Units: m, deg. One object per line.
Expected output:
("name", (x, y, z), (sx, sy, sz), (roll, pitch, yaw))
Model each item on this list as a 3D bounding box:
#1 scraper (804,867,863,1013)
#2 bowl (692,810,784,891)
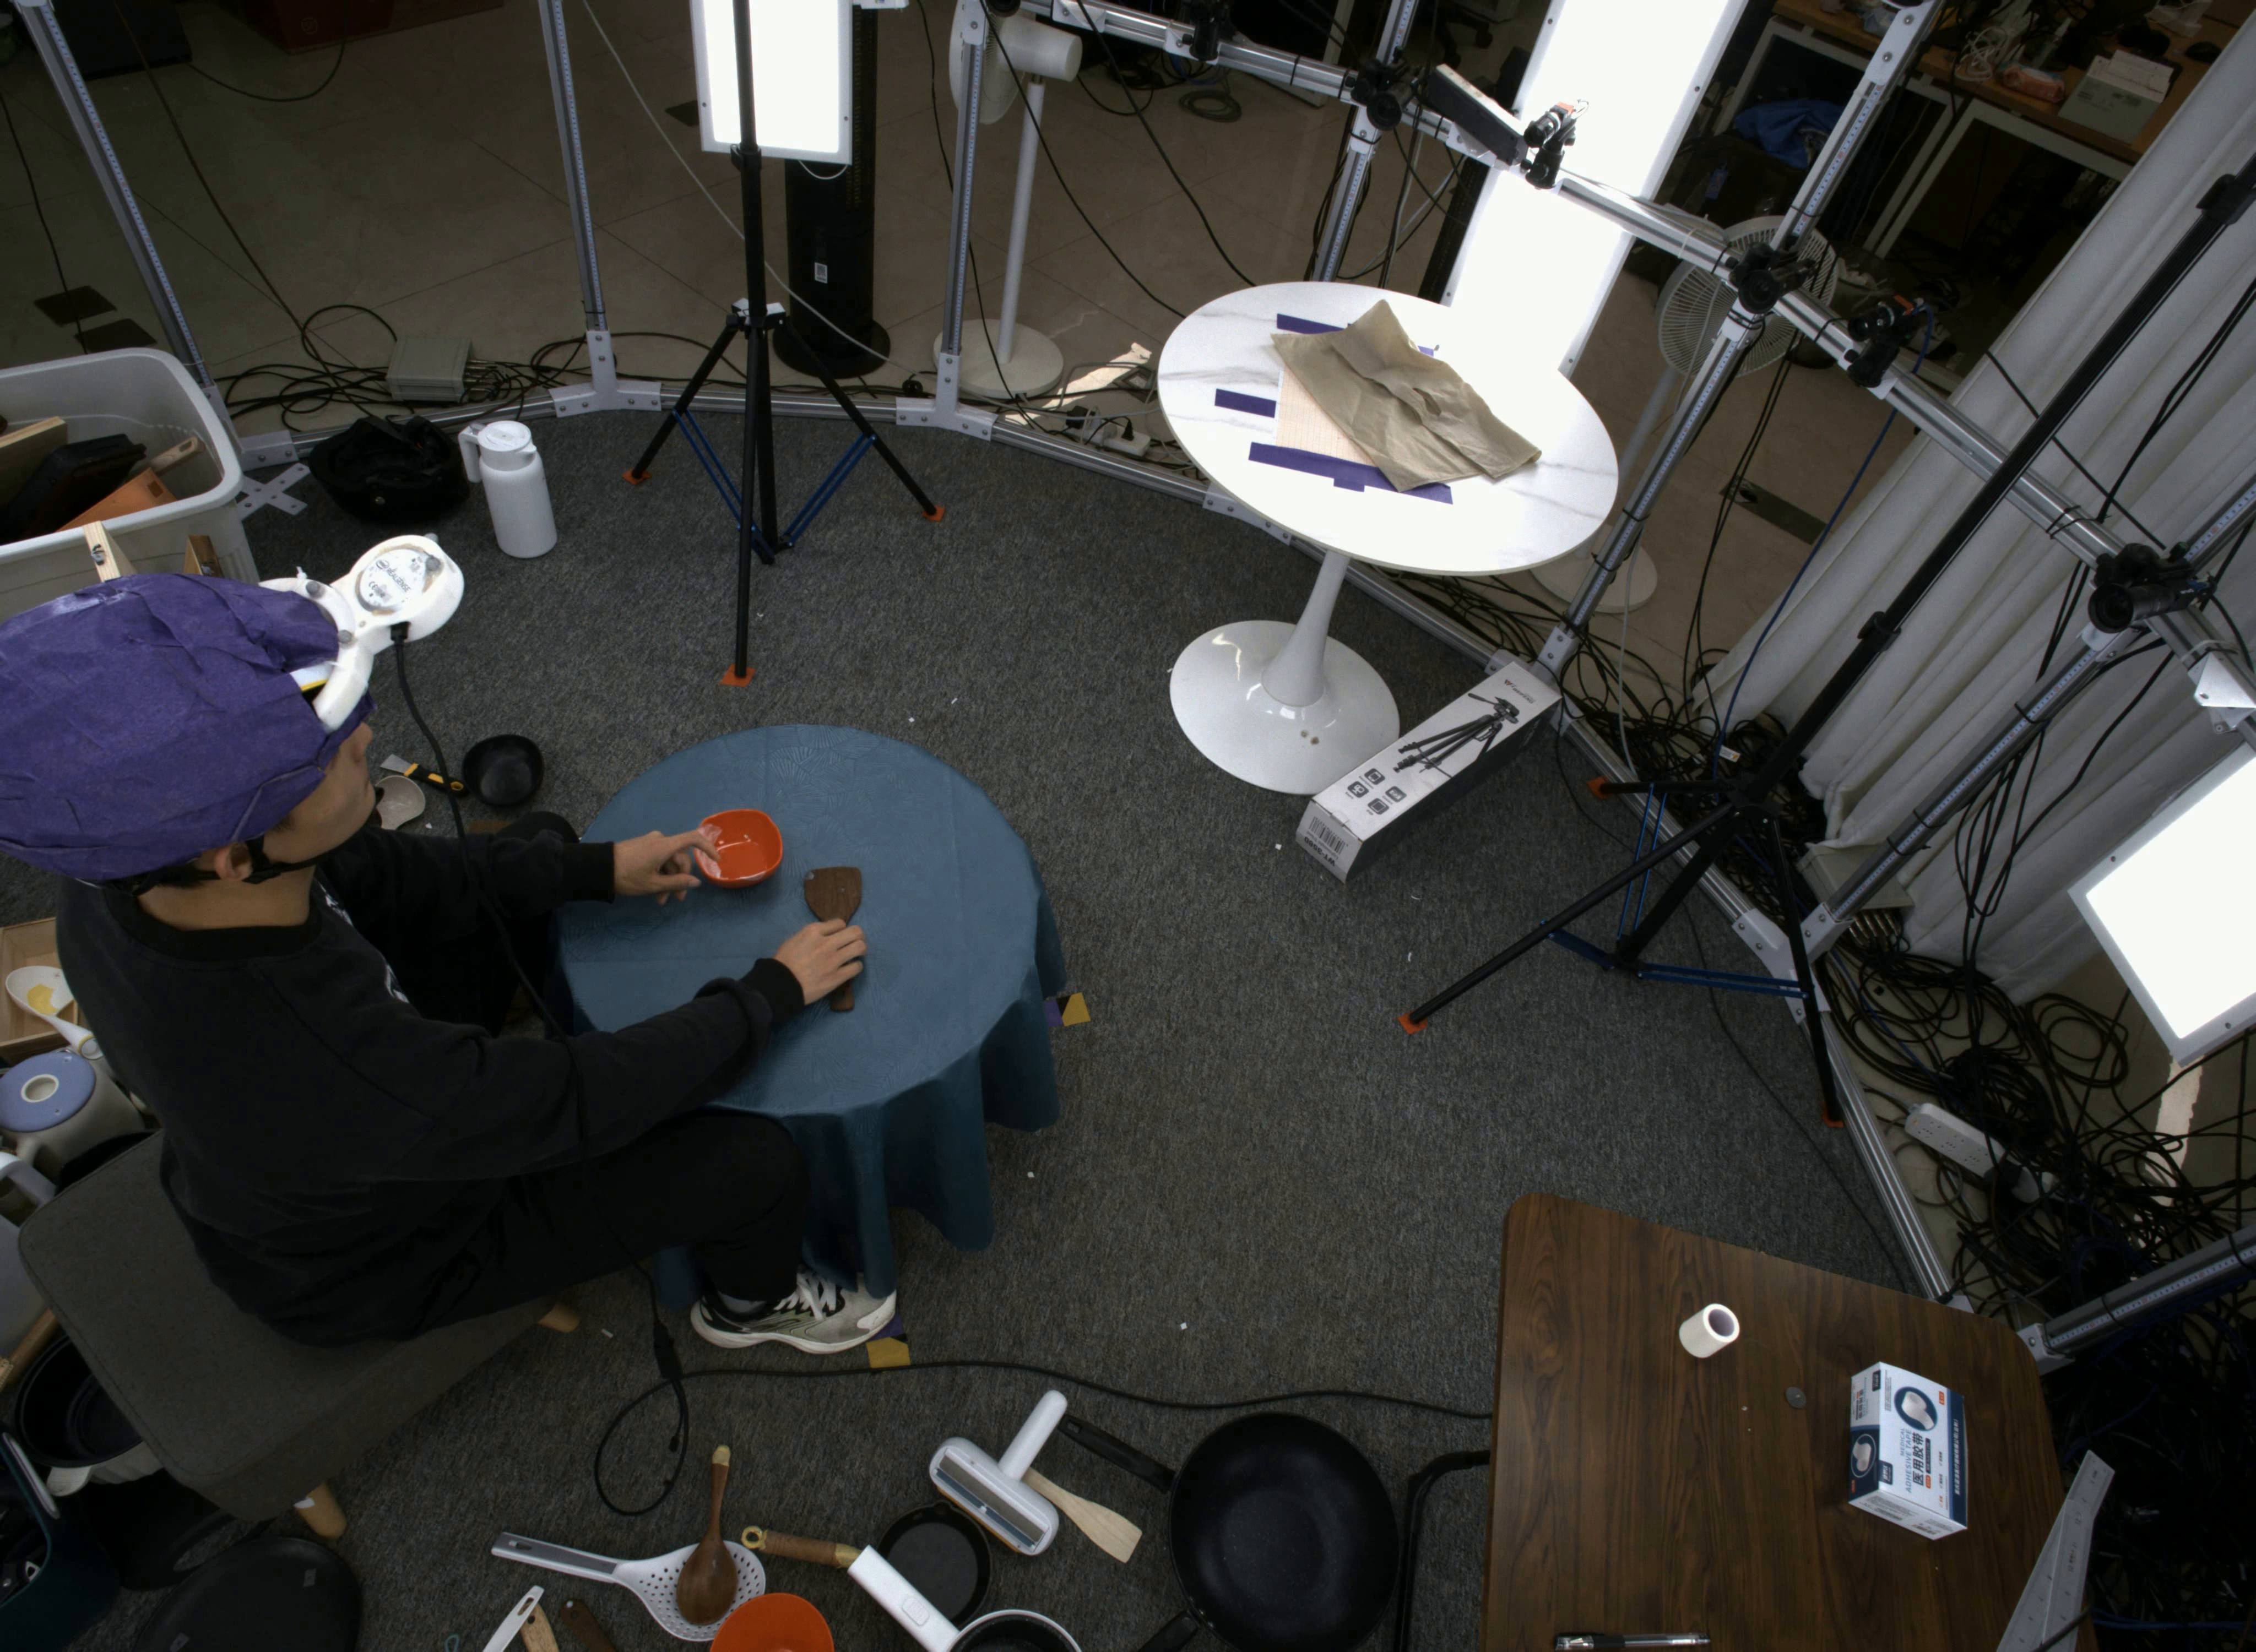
("scraper", (-0.366, 0.139, 1.635), (0.076, 0.011, 0.206), (-3, 56, -15))
("bowl", (-0.497, 0.038, 1.651), (0.119, 0.052, 0.117), (8, 52, -9))
